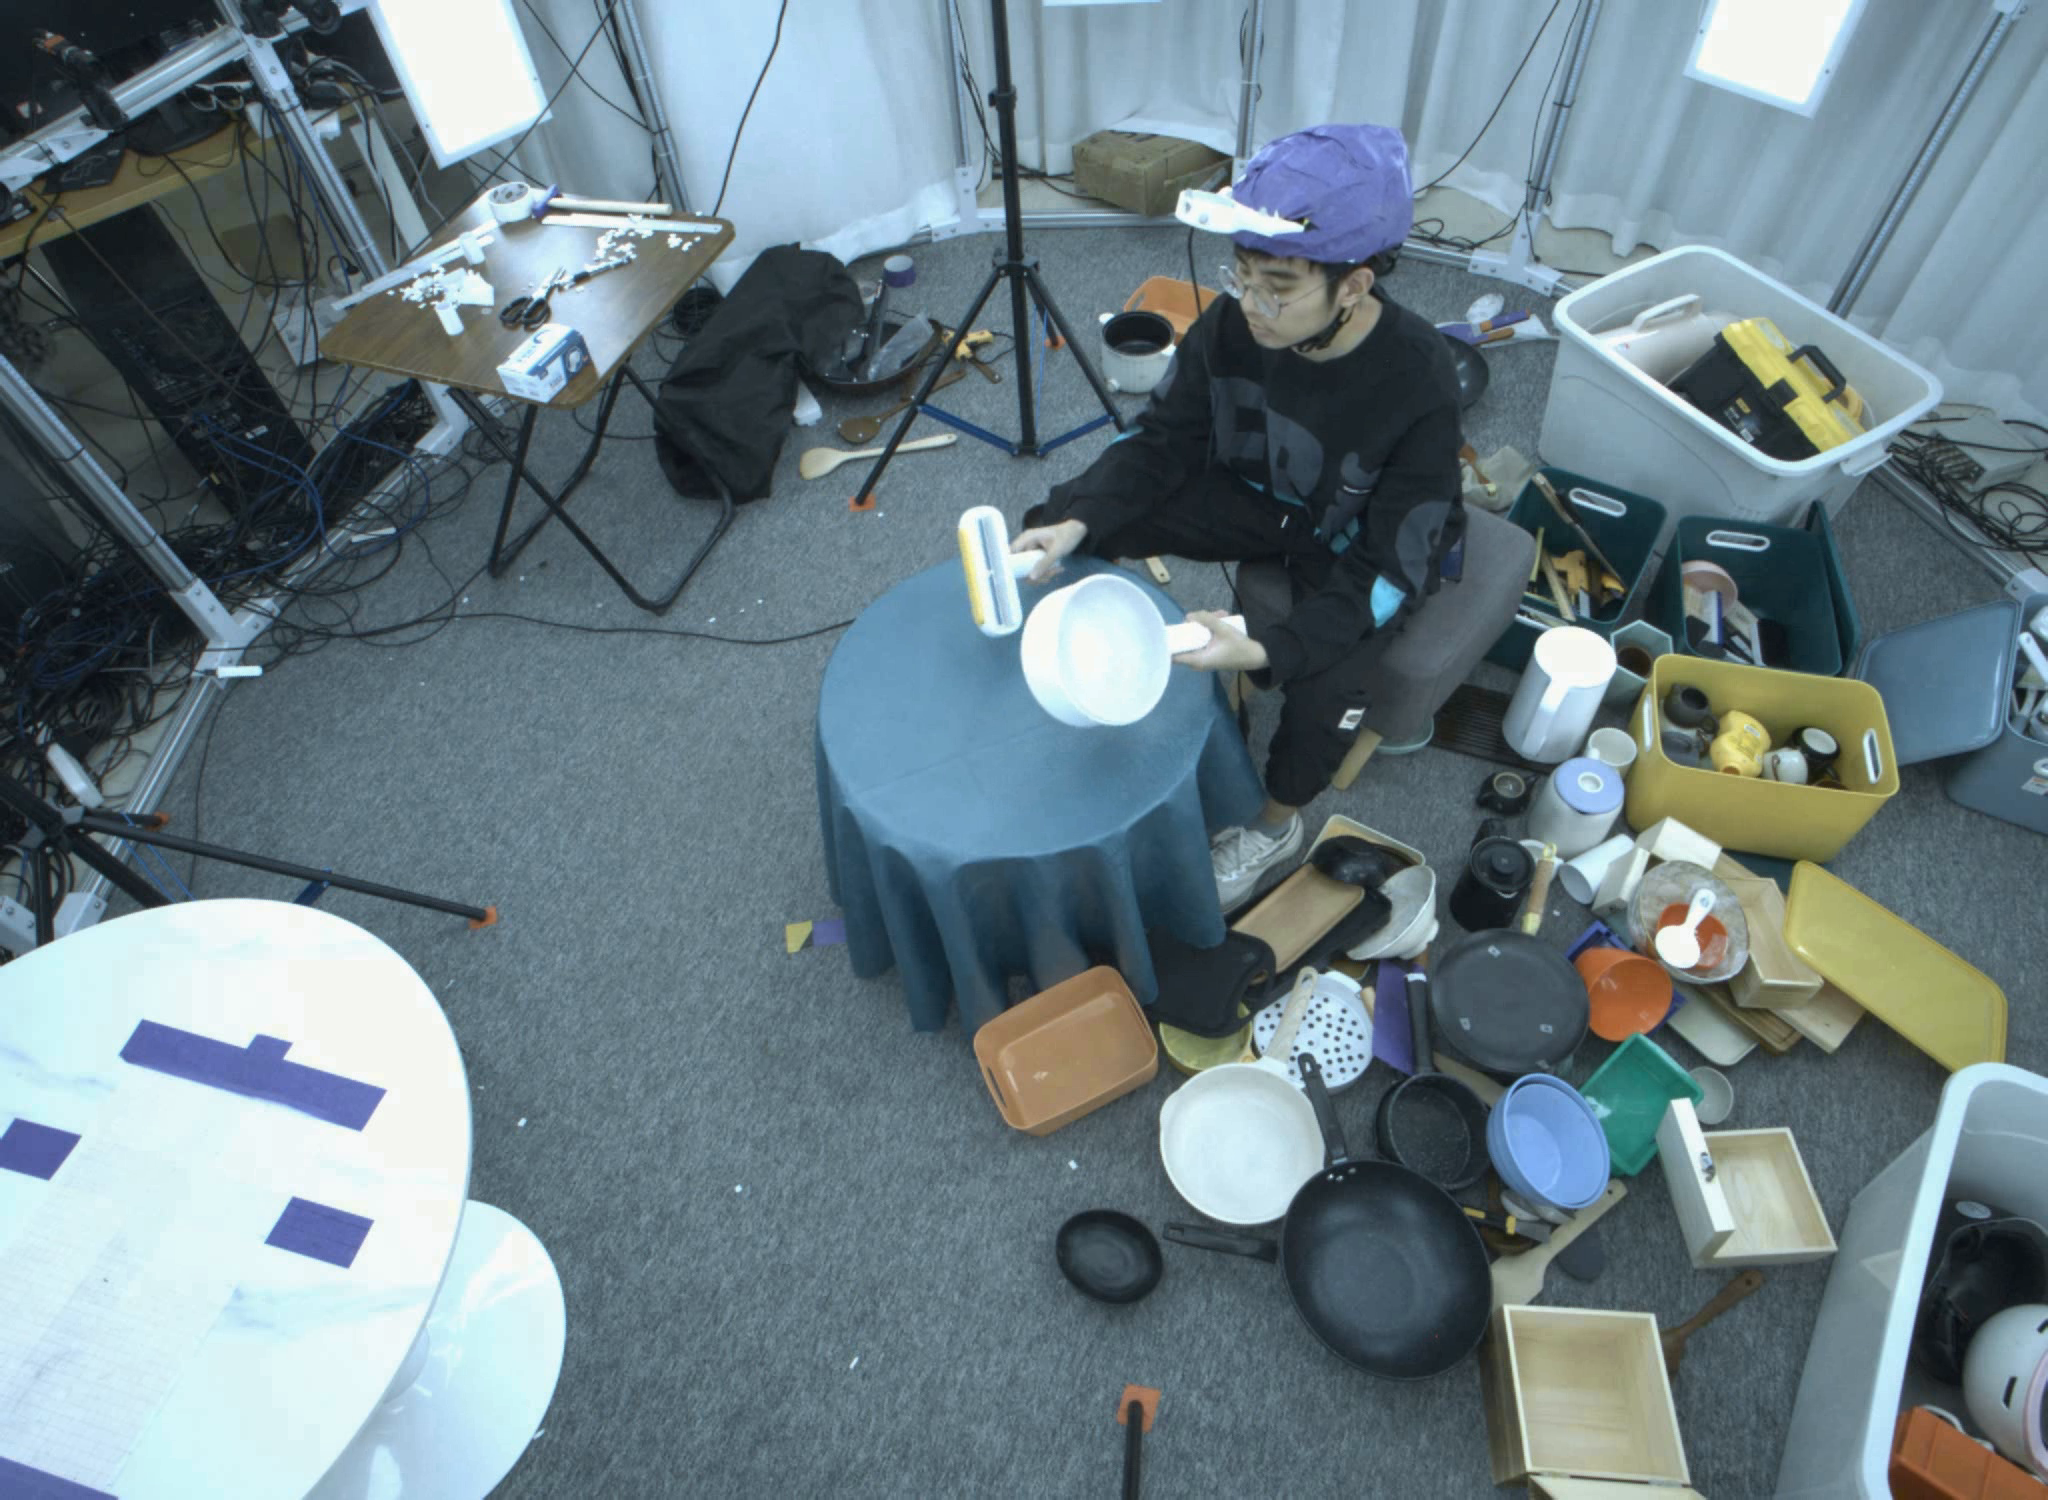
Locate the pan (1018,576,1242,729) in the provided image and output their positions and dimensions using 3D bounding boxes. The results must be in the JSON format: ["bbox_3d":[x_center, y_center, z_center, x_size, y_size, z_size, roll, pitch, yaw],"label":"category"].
[{"bbox_3d":[0.149,-0.141,1.715,0.361,0.100,0.201,-14,92,-38],"label":"pan"}]

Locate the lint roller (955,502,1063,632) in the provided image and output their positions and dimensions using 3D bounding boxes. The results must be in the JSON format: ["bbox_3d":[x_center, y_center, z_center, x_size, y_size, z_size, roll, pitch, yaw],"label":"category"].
[{"bbox_3d":[-0.011,-0.282,1.858,0.196,0.073,0.193,-14,95,-34],"label":"lint roller"}]
